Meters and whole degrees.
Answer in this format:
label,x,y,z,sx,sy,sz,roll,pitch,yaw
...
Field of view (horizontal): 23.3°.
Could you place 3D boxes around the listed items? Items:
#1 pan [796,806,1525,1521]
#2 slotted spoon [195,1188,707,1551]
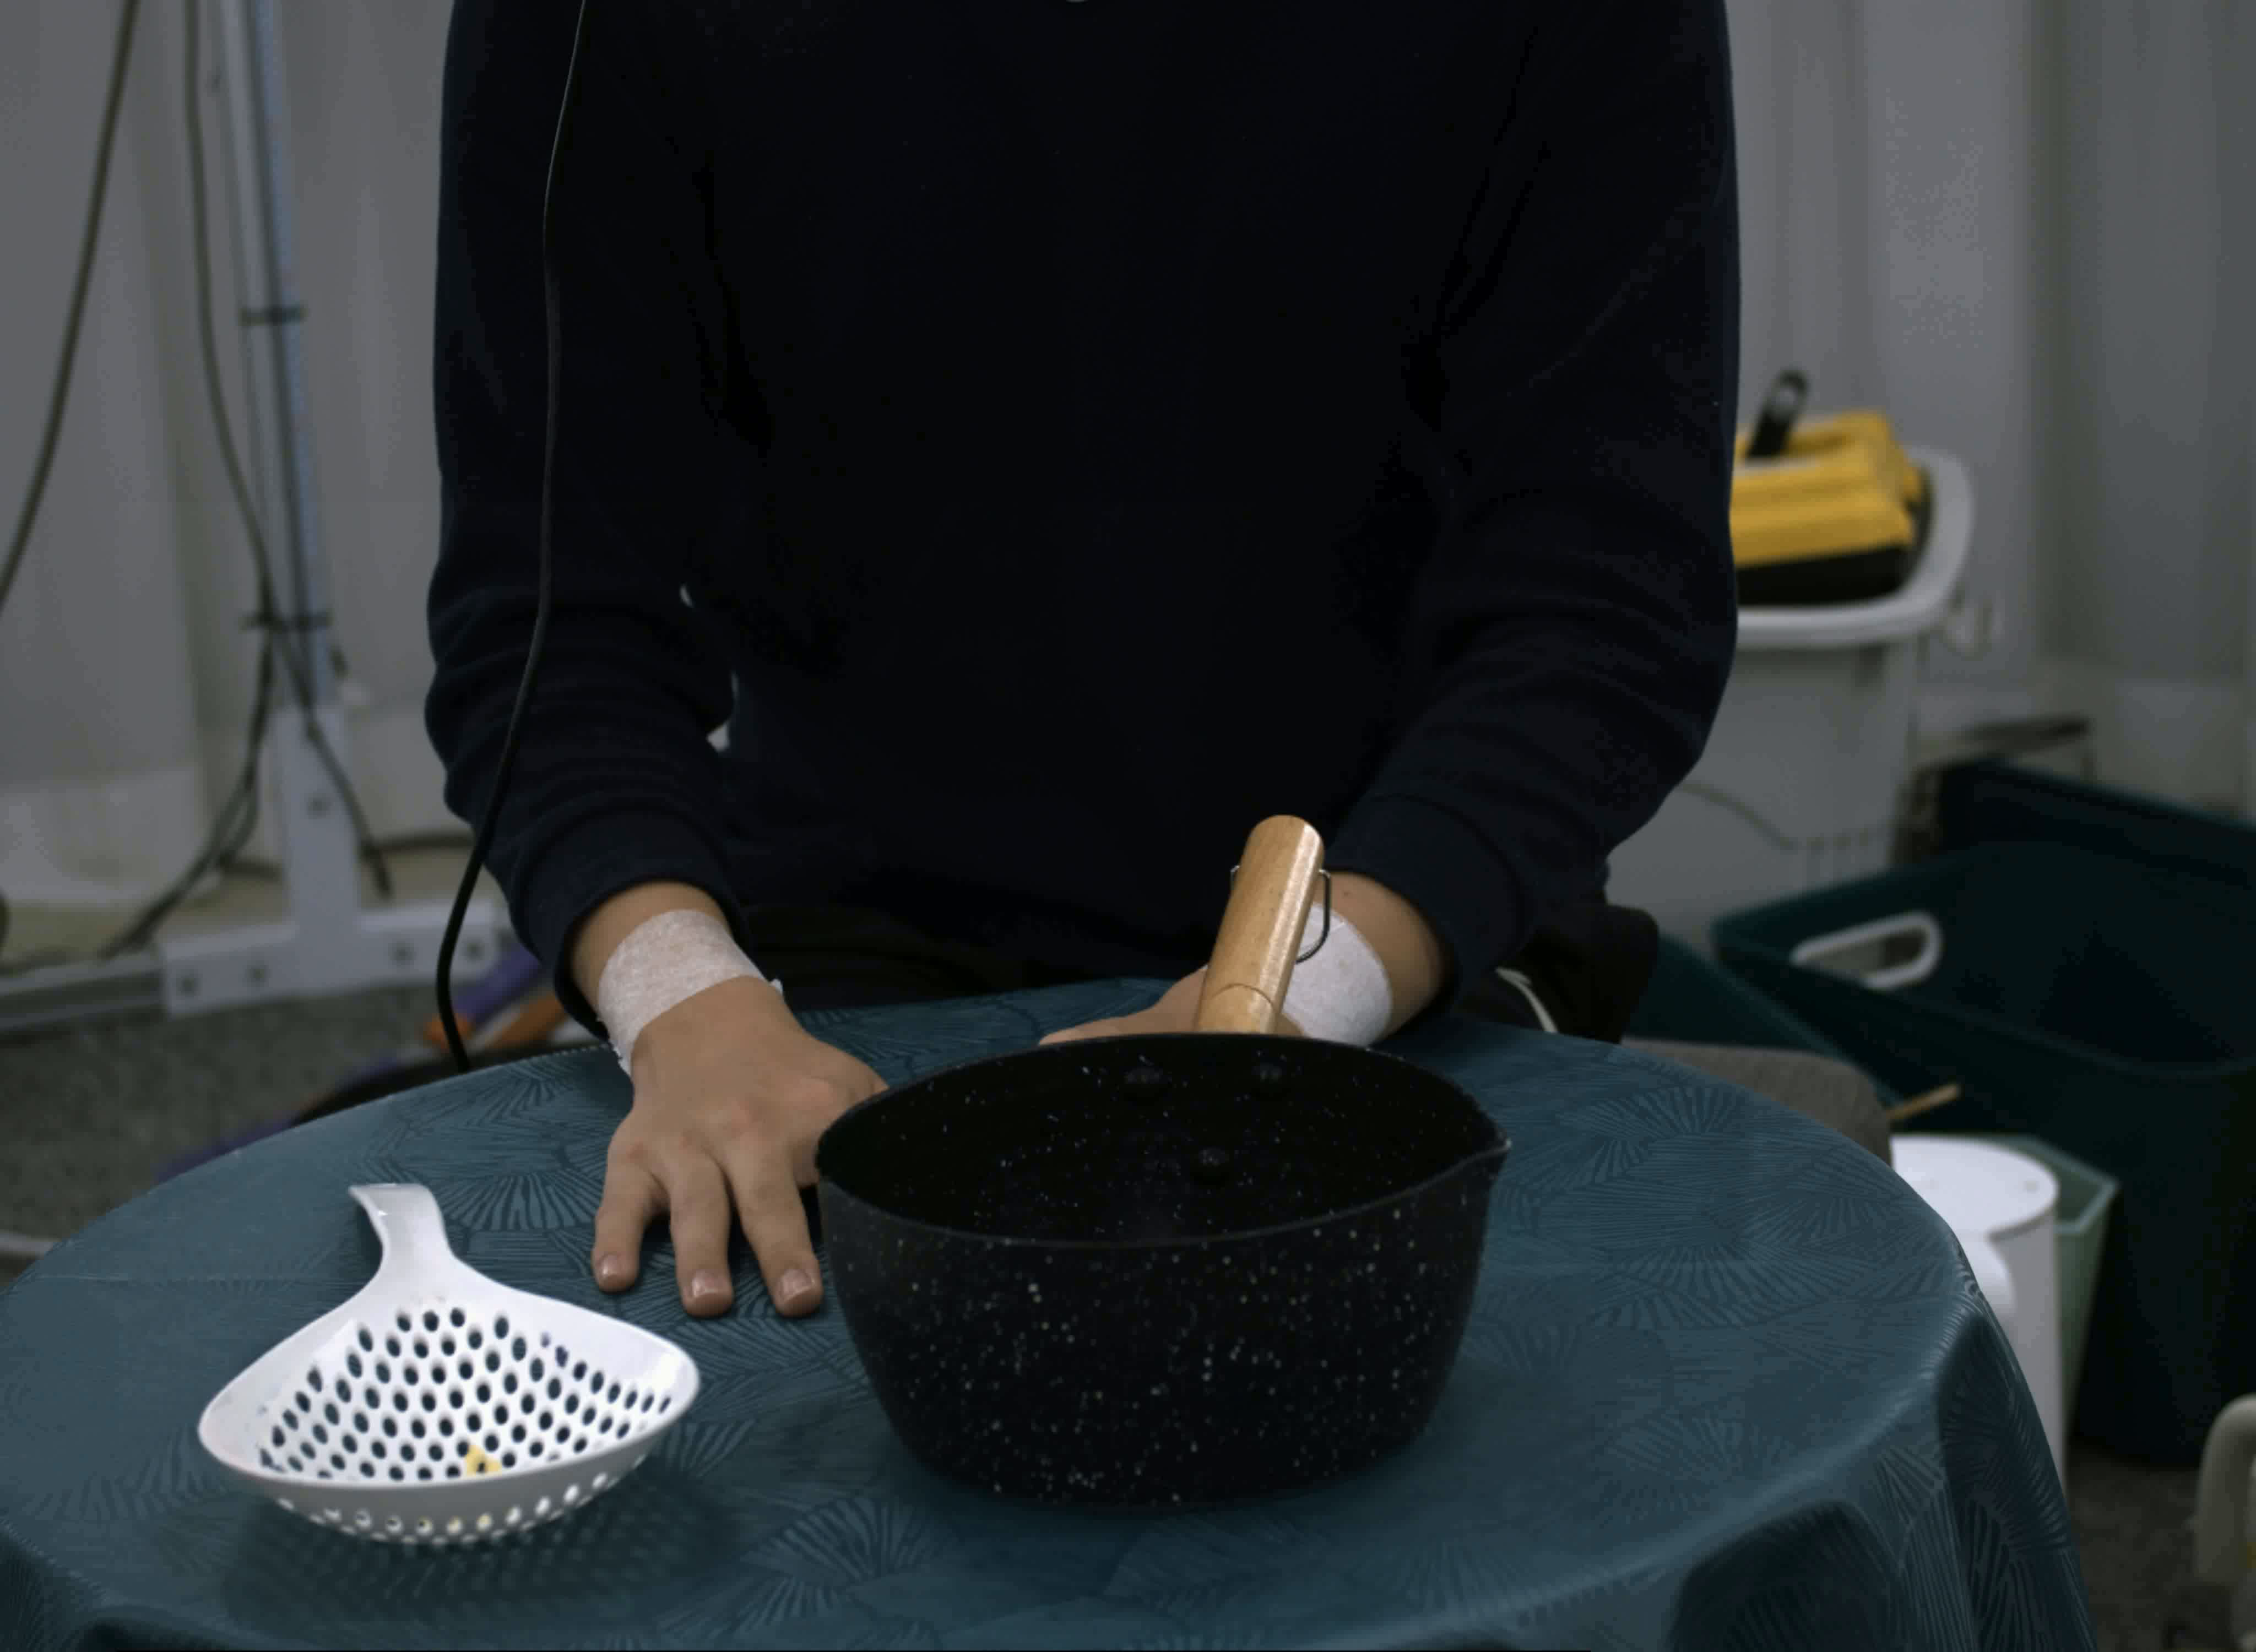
label,x,y,z,sx,sy,sz,roll,pitch,yaw
pan,0.021,0.092,1.588,0.207,0.108,0.345,-1,16,10
slotted spoon,-0.204,0.142,1.574,0.136,0.050,0.351,-8,17,-11
